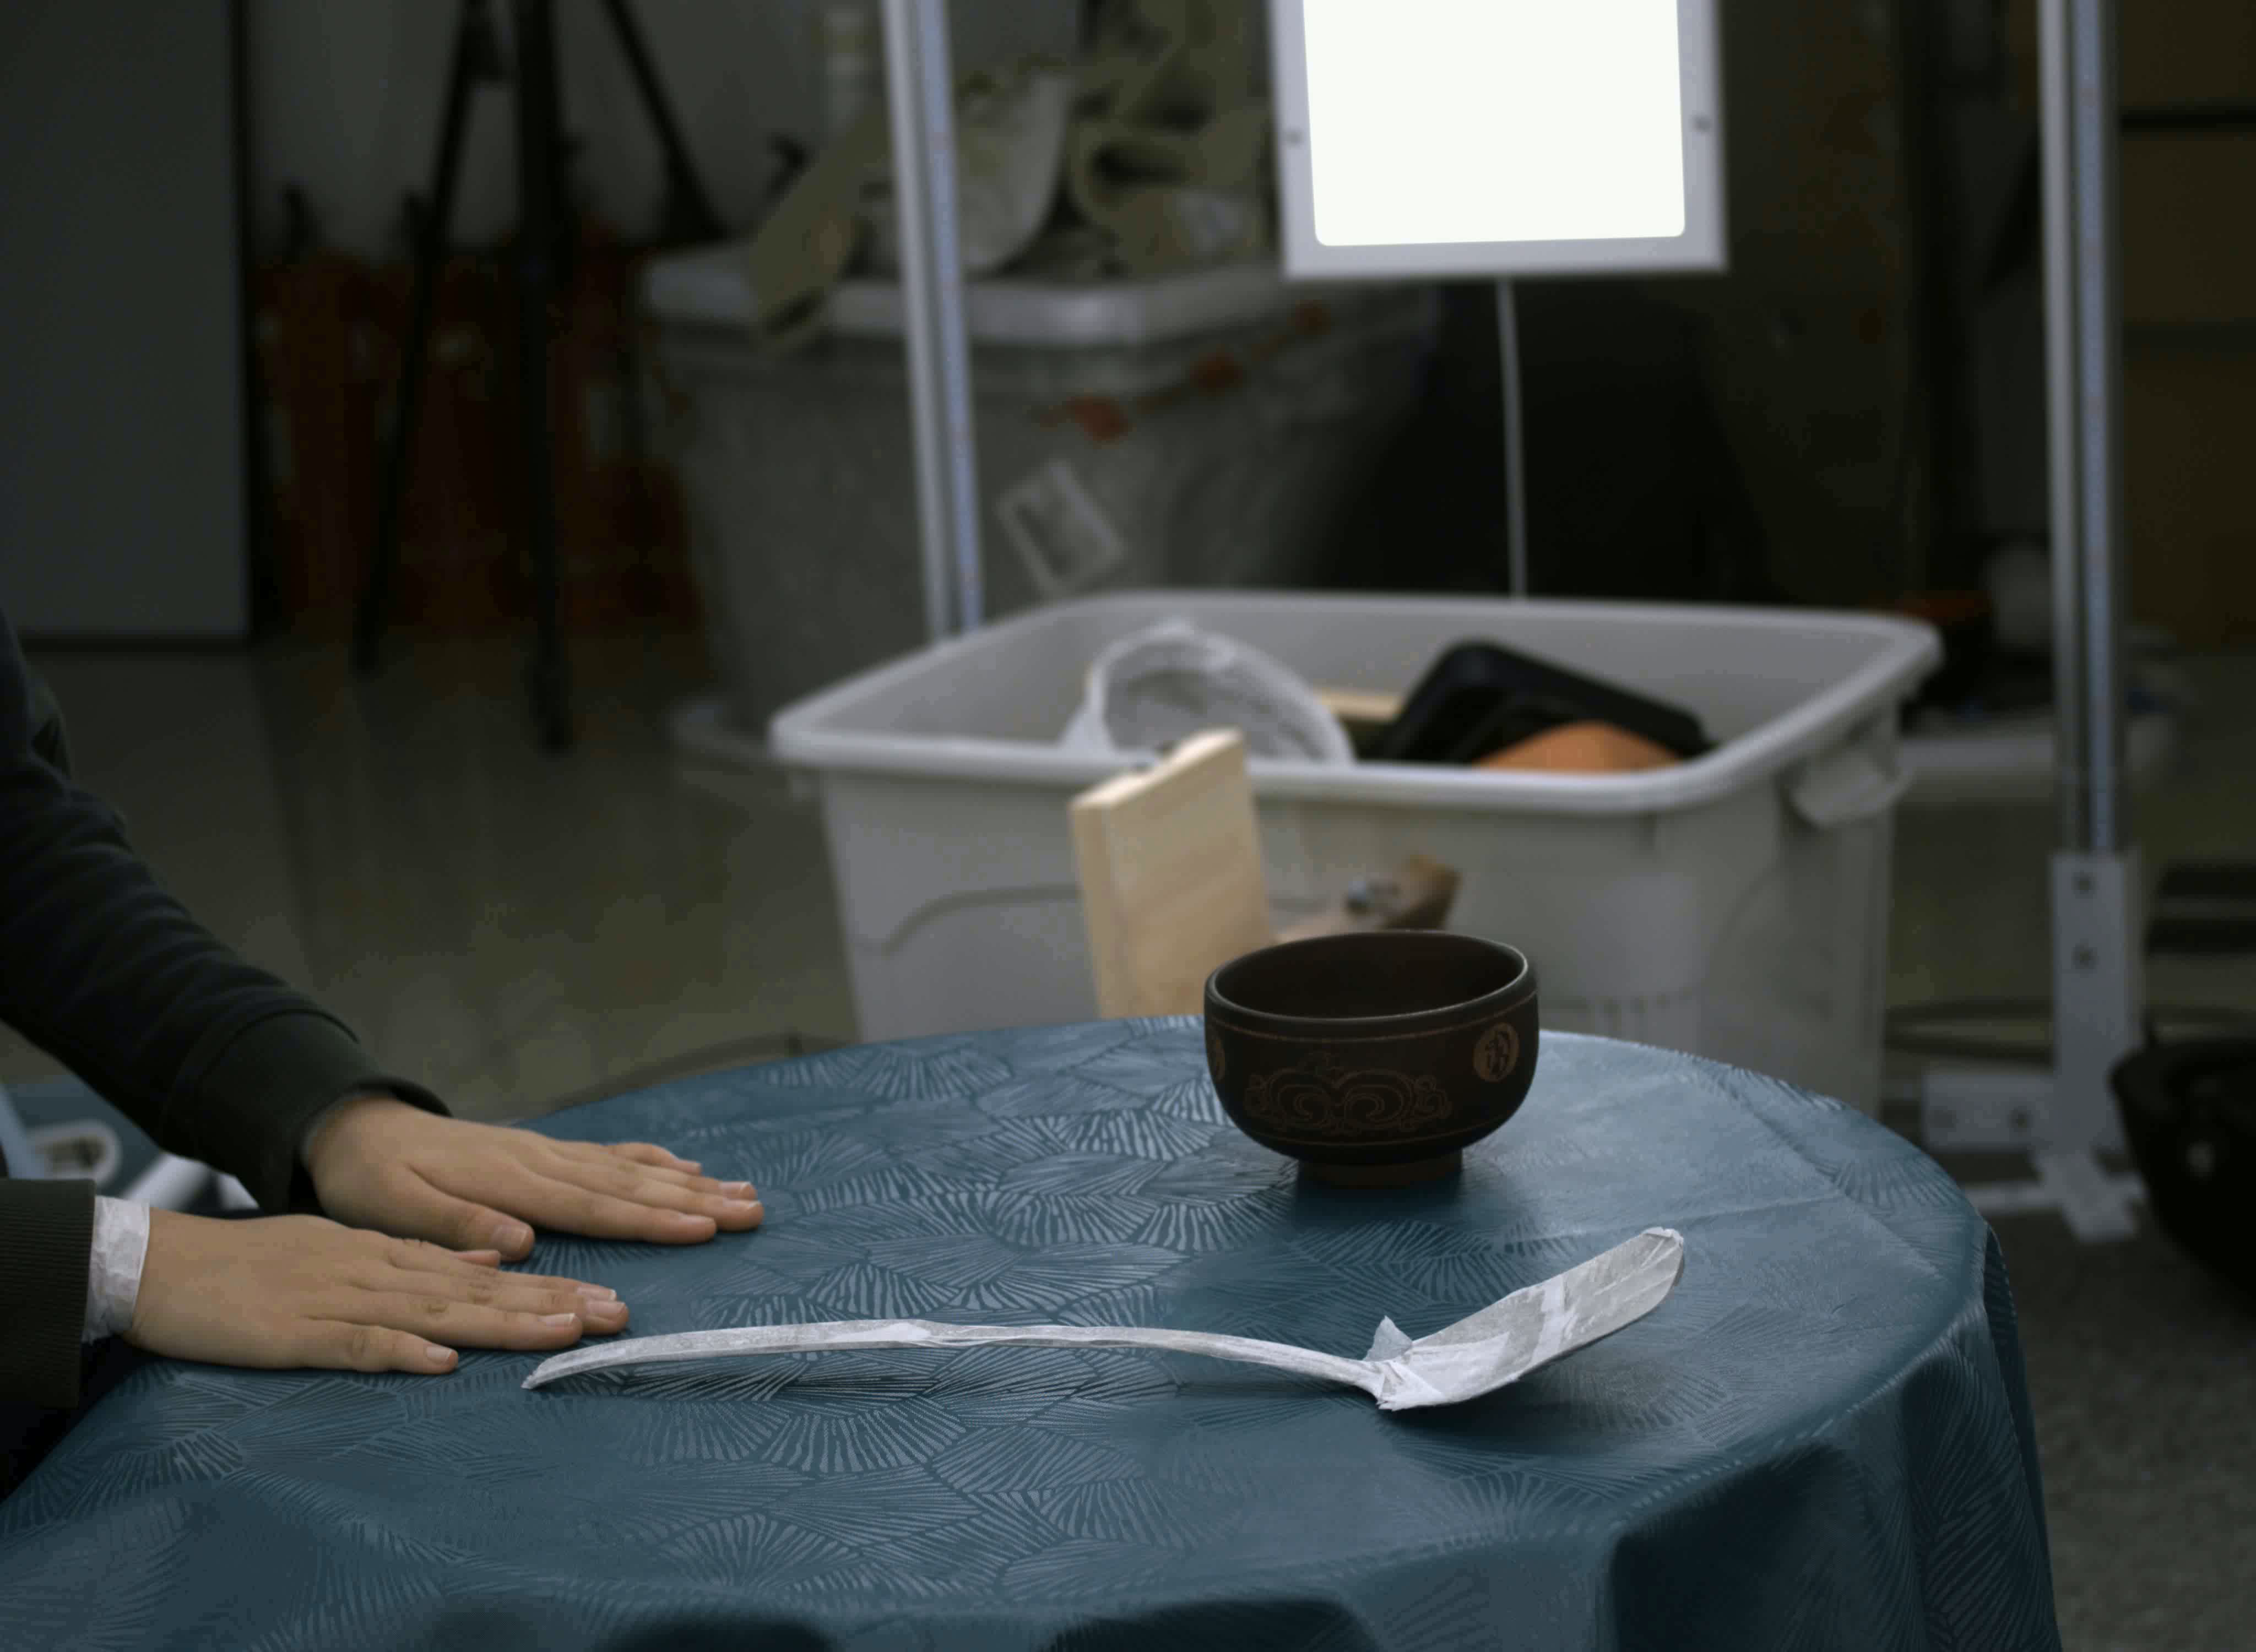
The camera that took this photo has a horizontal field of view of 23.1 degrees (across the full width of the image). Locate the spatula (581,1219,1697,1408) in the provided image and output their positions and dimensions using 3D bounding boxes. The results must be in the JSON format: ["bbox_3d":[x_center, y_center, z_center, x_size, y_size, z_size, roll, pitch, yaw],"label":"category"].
[{"bbox_3d":[-0.005,0.154,1.707,0.369,0.045,0.097,-1,16,17],"label":"spatula"}]

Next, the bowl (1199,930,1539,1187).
[{"bbox_3d":[0.085,0.083,1.895,0.118,0.070,0.118,-7,12,0],"label":"bowl"}]
